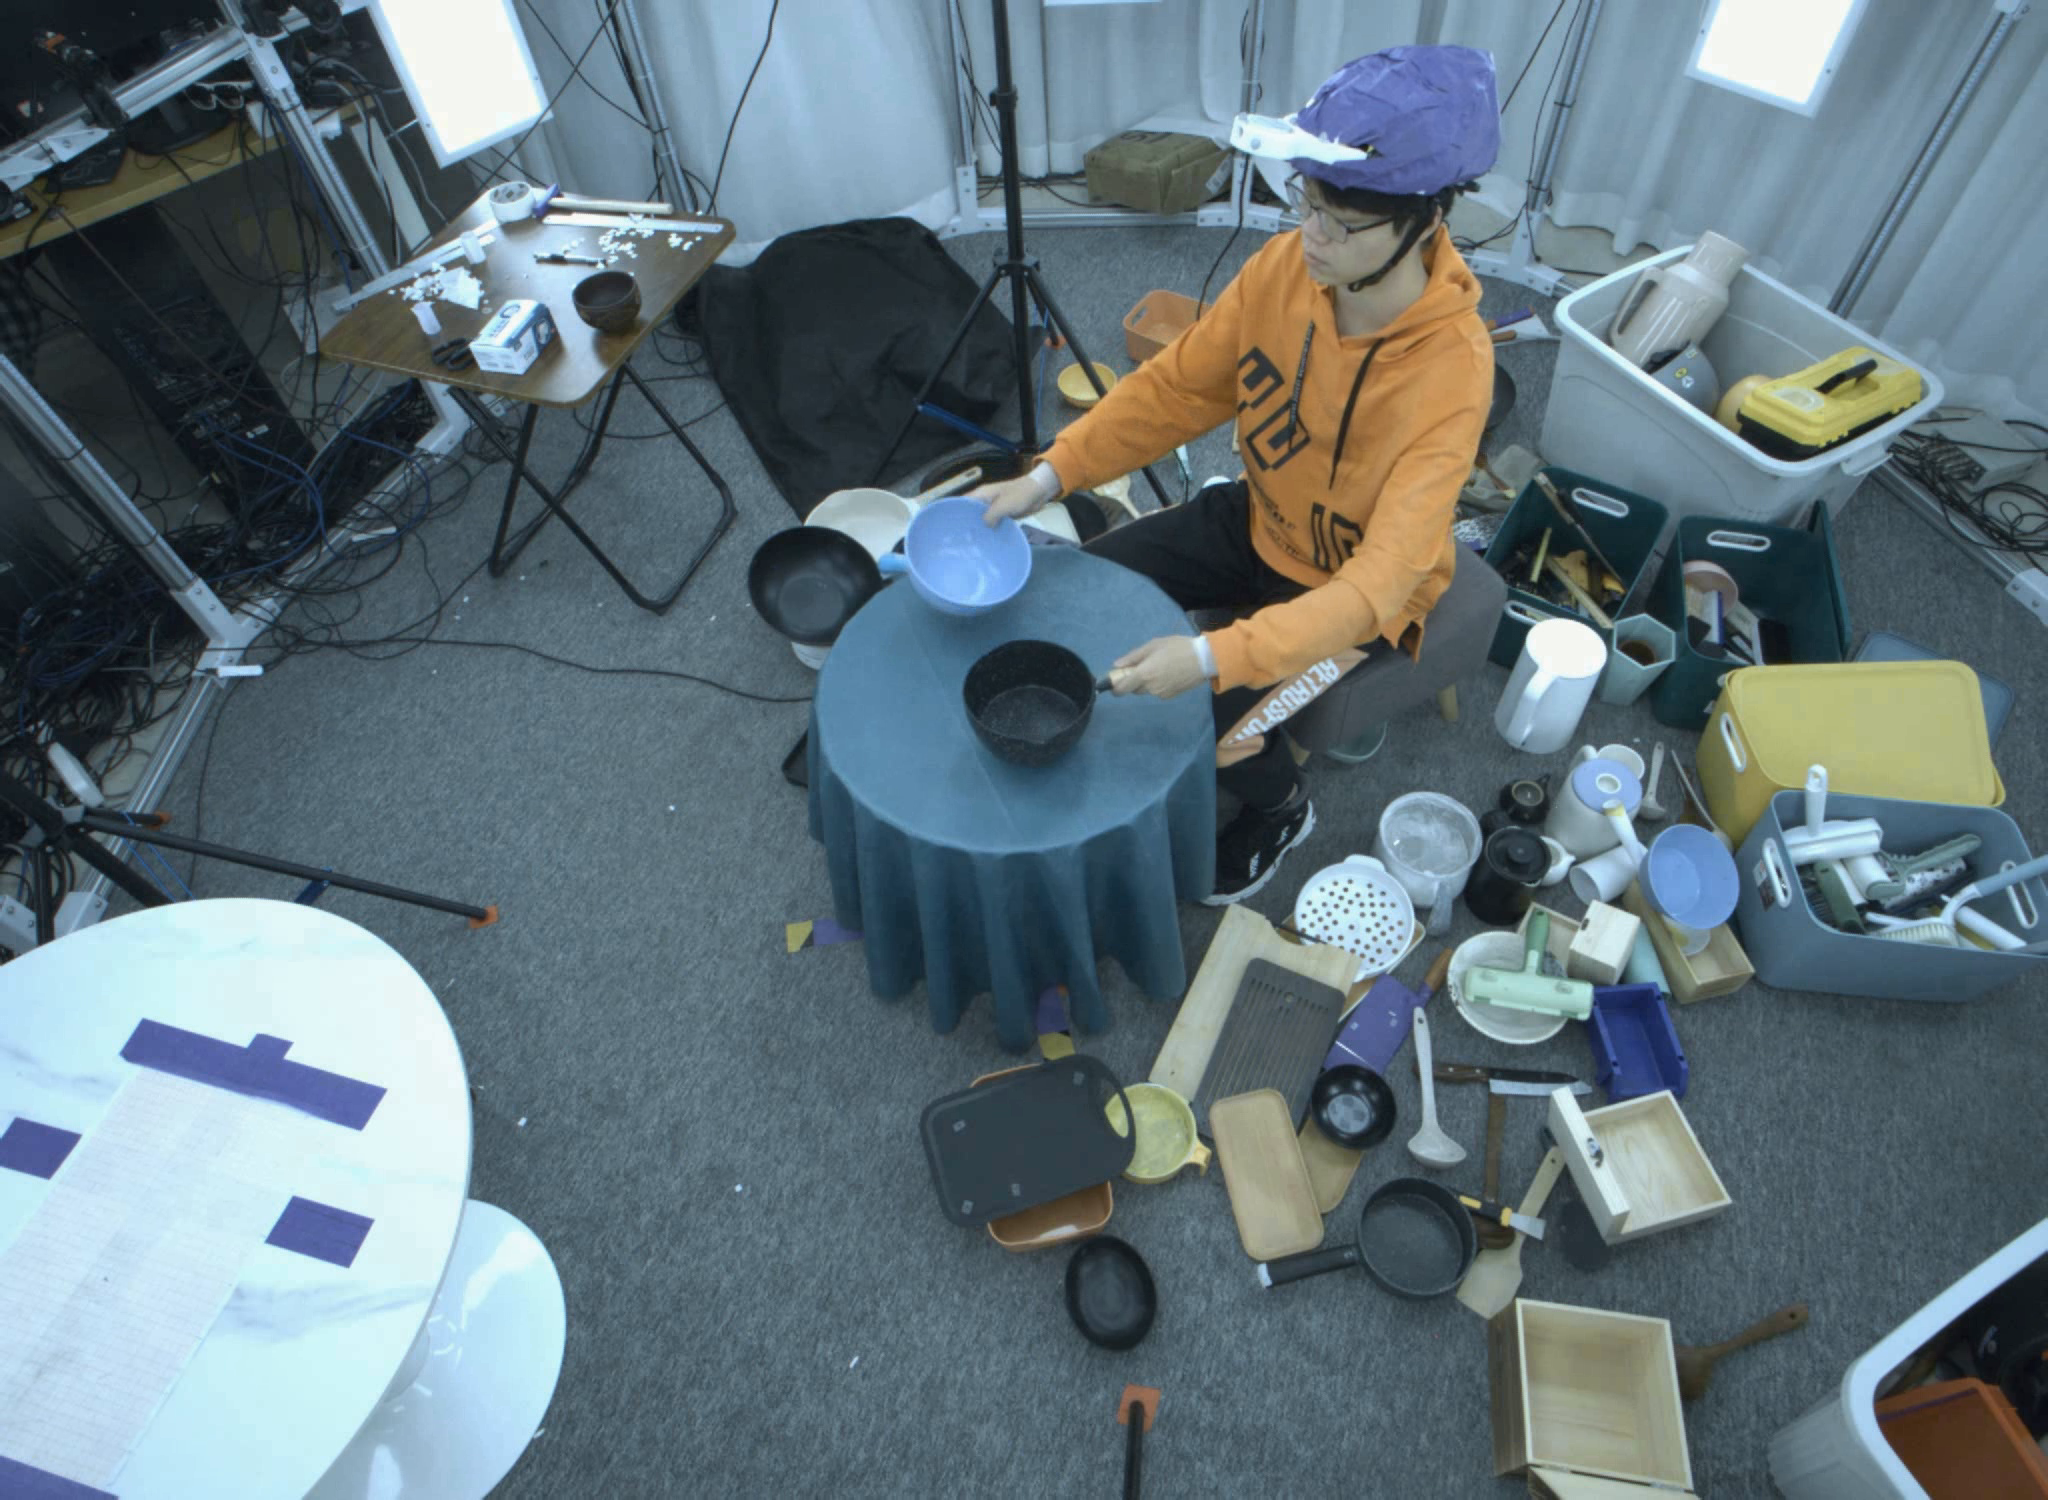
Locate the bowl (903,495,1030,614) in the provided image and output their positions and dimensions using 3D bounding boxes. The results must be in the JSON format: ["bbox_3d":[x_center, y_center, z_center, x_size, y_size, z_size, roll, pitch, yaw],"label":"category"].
[{"bbox_3d":[-0.098,-0.286,1.878,0.199,0.095,0.195,7,65,-15],"label":"bowl"}]

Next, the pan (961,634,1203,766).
[{"bbox_3d":[0.084,-0.084,1.743,0.344,0.109,0.204,-12,52,-6],"label":"pan"}]
